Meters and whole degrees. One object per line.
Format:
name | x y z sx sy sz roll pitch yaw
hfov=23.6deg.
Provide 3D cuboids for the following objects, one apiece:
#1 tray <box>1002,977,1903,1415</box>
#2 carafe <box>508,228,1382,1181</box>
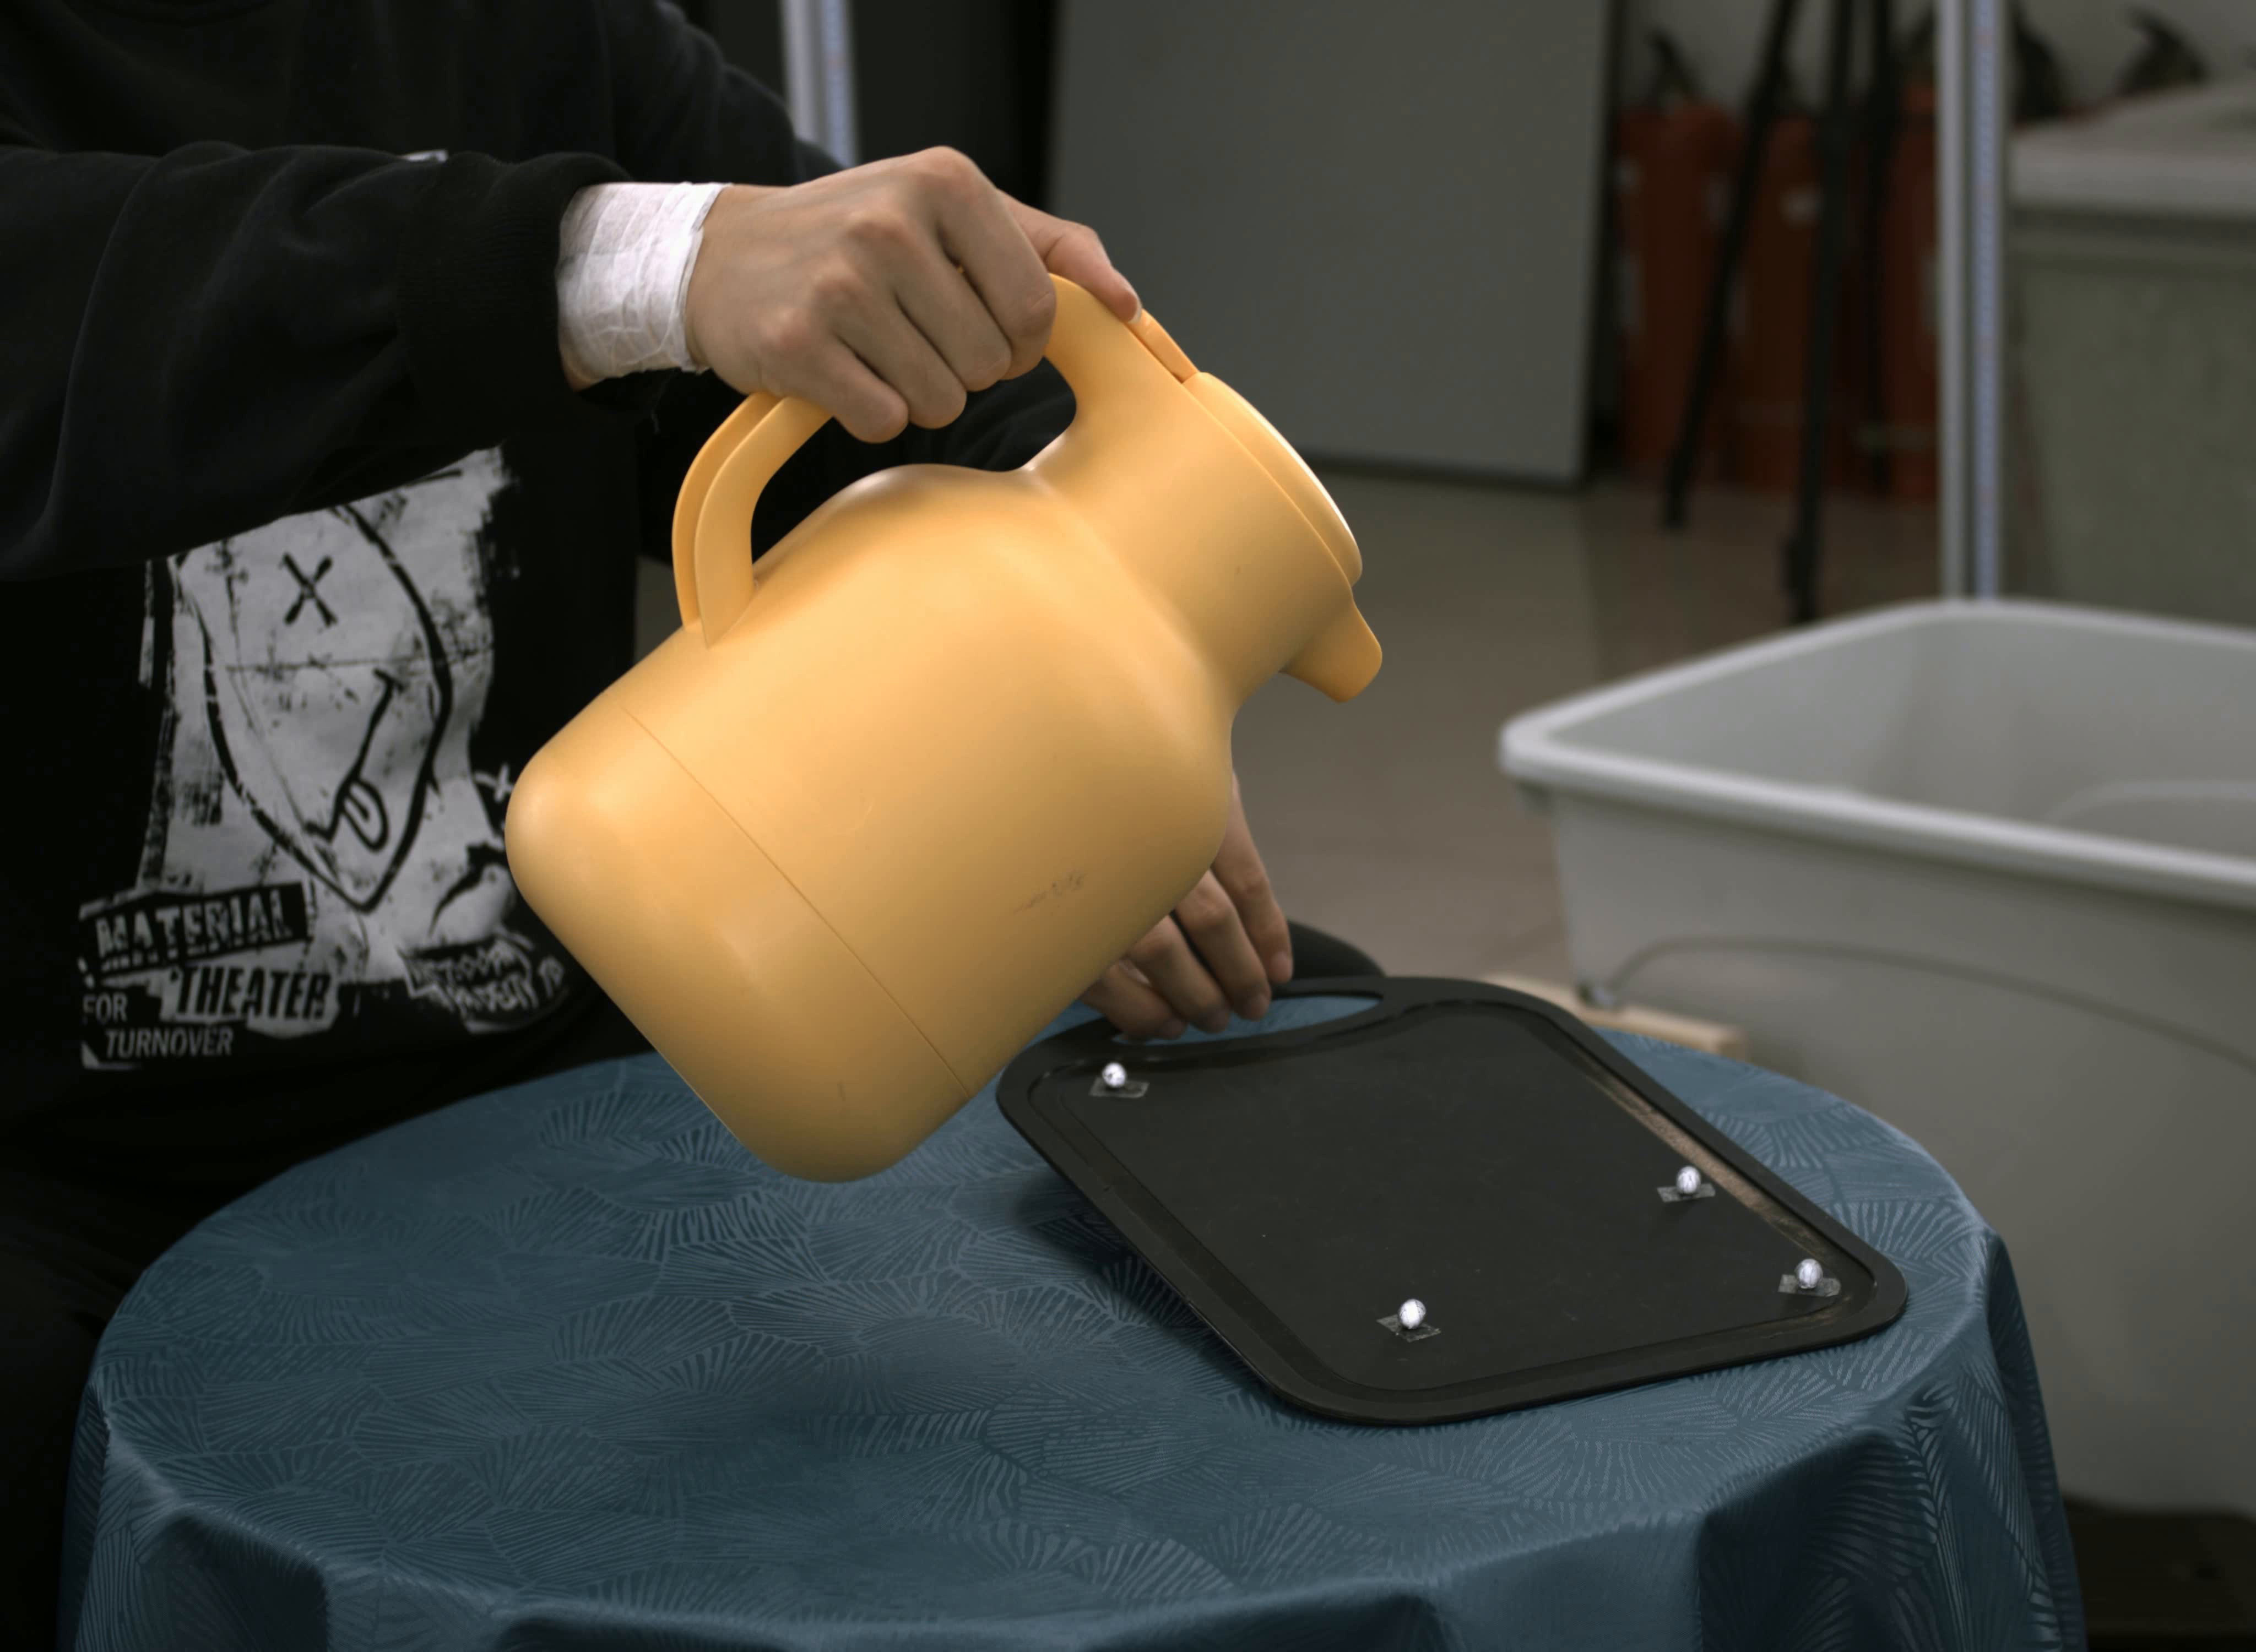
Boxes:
tray | 0.092 0.108 1.707 0.207 0.010 0.329 -9 21 -19
carafe | -0.060 -0.044 1.590 0.259 0.201 0.165 -43 19 -9
